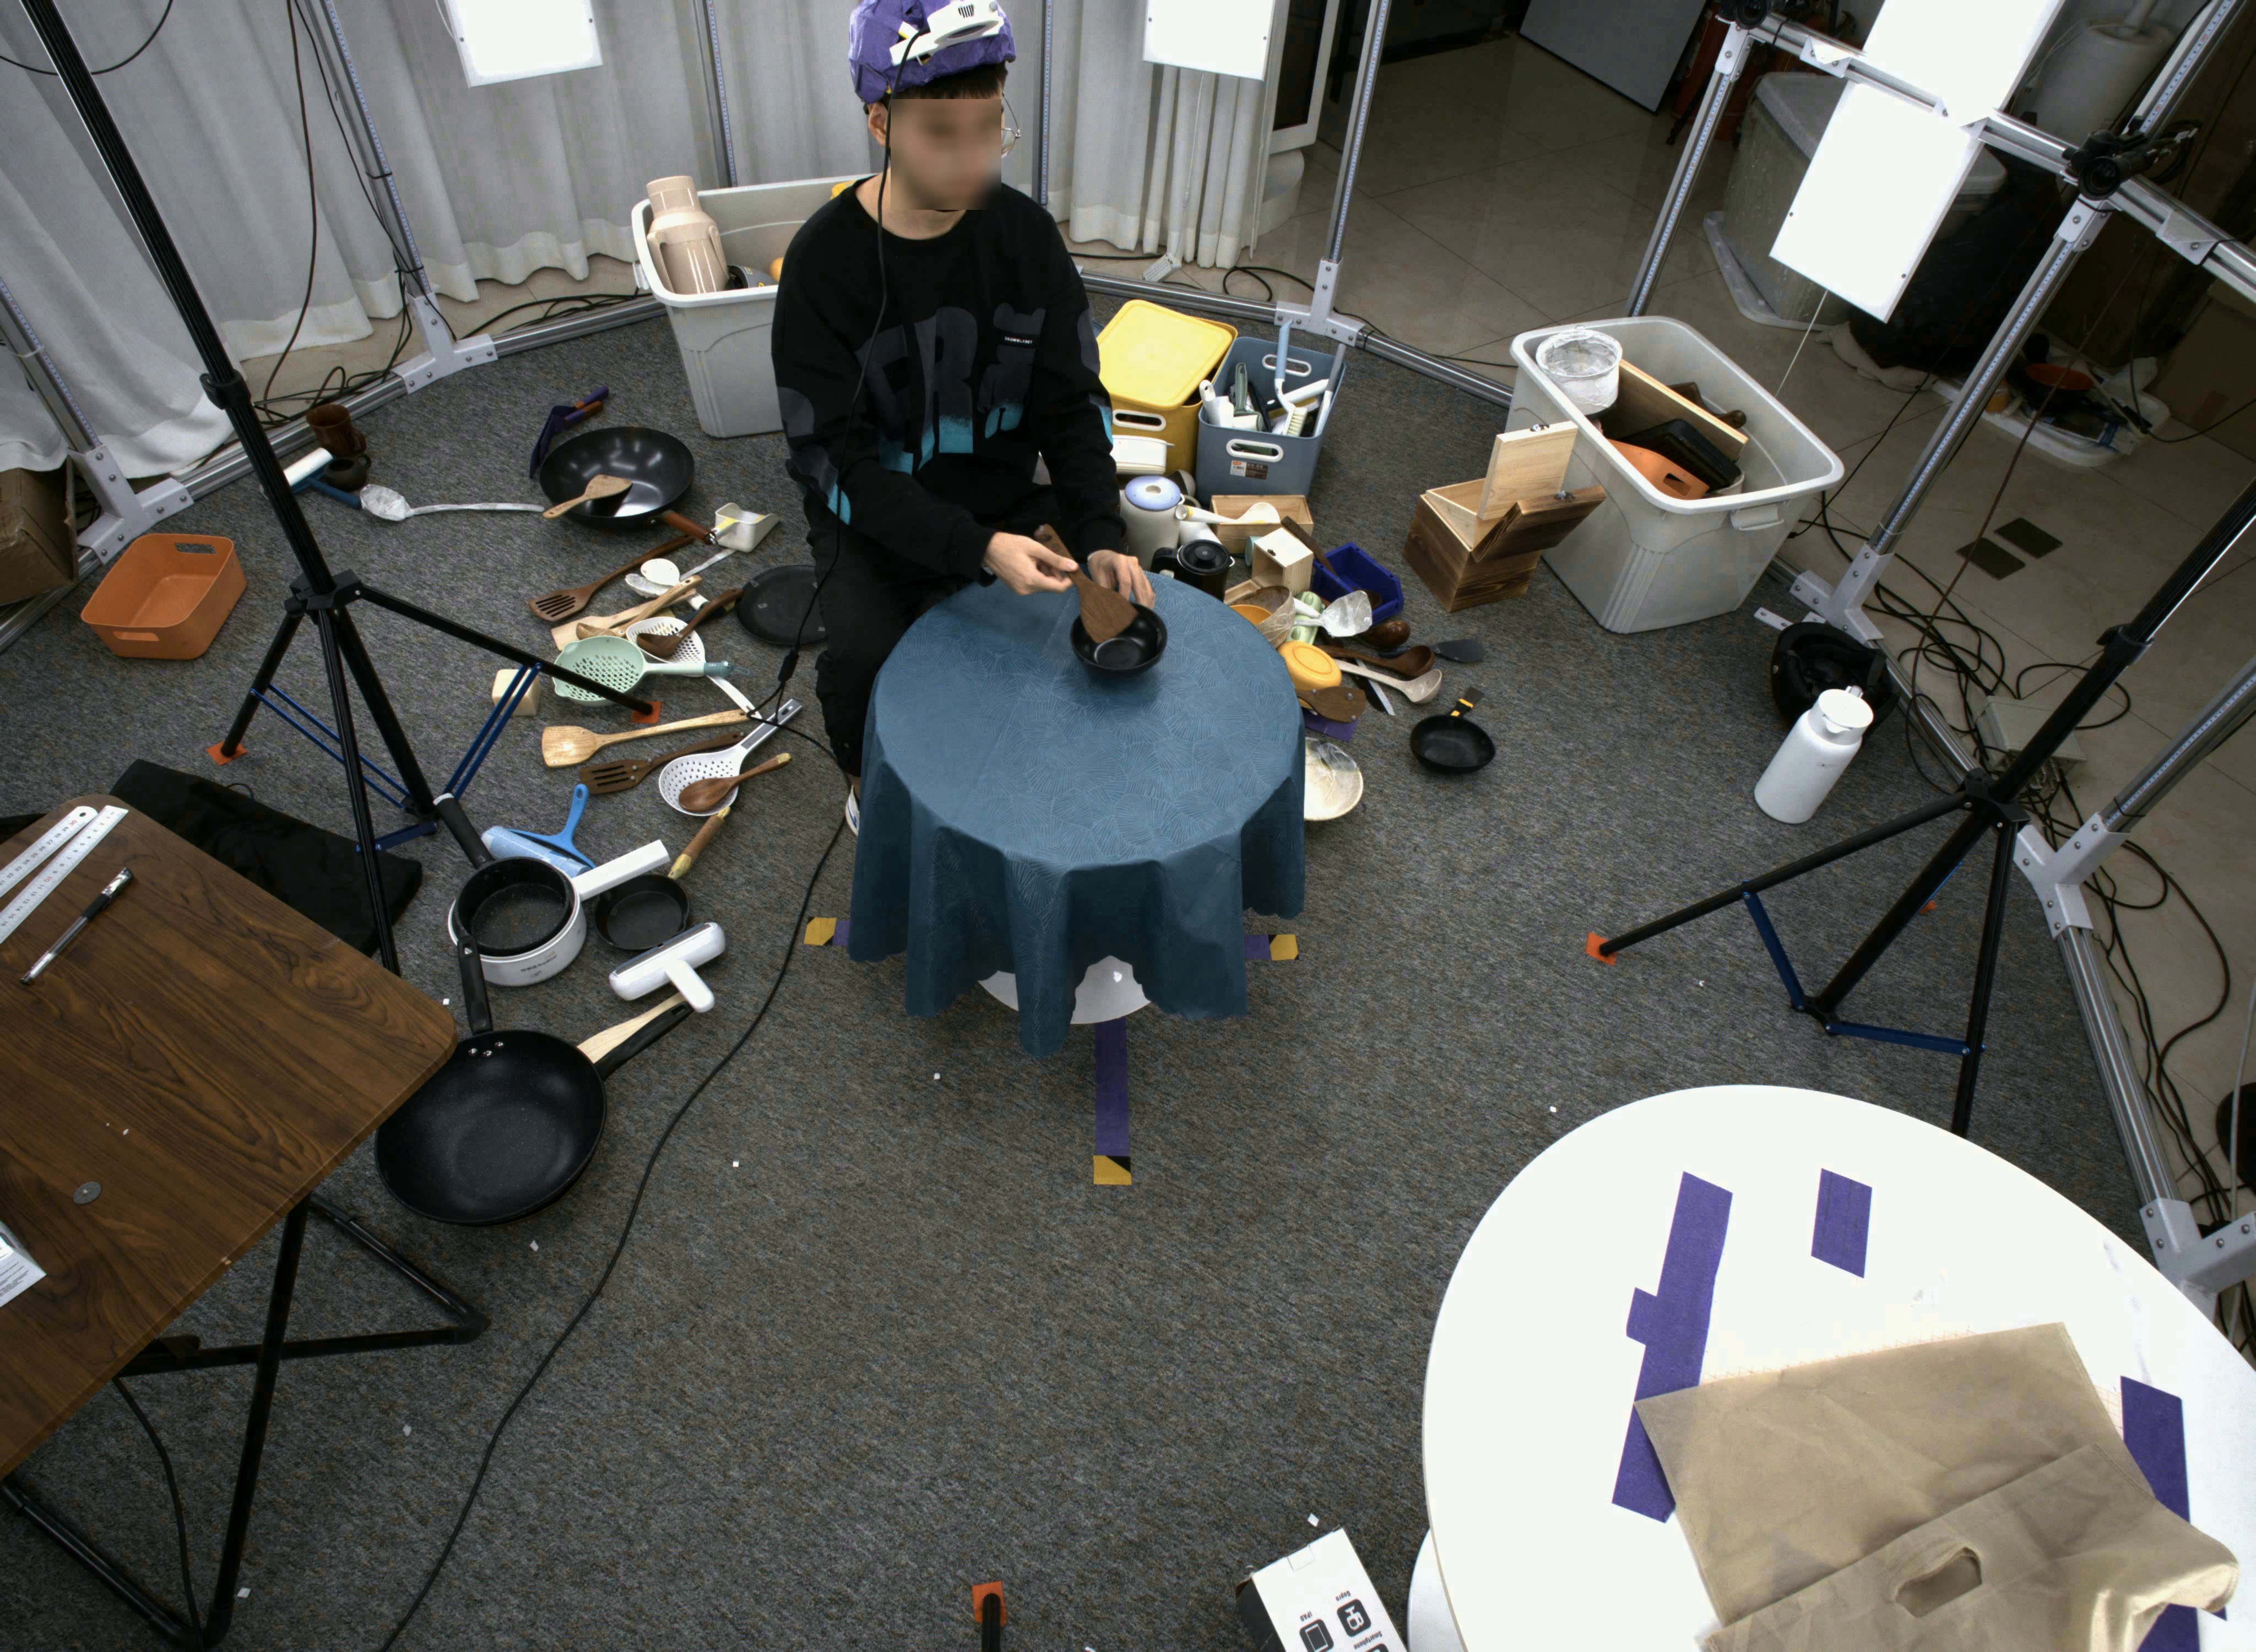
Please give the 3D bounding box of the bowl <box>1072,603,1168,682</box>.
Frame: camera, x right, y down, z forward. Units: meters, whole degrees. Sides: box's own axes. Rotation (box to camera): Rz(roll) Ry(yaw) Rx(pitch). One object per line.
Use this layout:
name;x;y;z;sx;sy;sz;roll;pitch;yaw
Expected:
bowl;-0.010;-0.257;1.863;0.140;0.048;0.143;-2;52;2

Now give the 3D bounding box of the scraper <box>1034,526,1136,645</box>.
scraper;-0.071;-0.351;1.846;0.076;0.010;0.214;-35;69;-2
